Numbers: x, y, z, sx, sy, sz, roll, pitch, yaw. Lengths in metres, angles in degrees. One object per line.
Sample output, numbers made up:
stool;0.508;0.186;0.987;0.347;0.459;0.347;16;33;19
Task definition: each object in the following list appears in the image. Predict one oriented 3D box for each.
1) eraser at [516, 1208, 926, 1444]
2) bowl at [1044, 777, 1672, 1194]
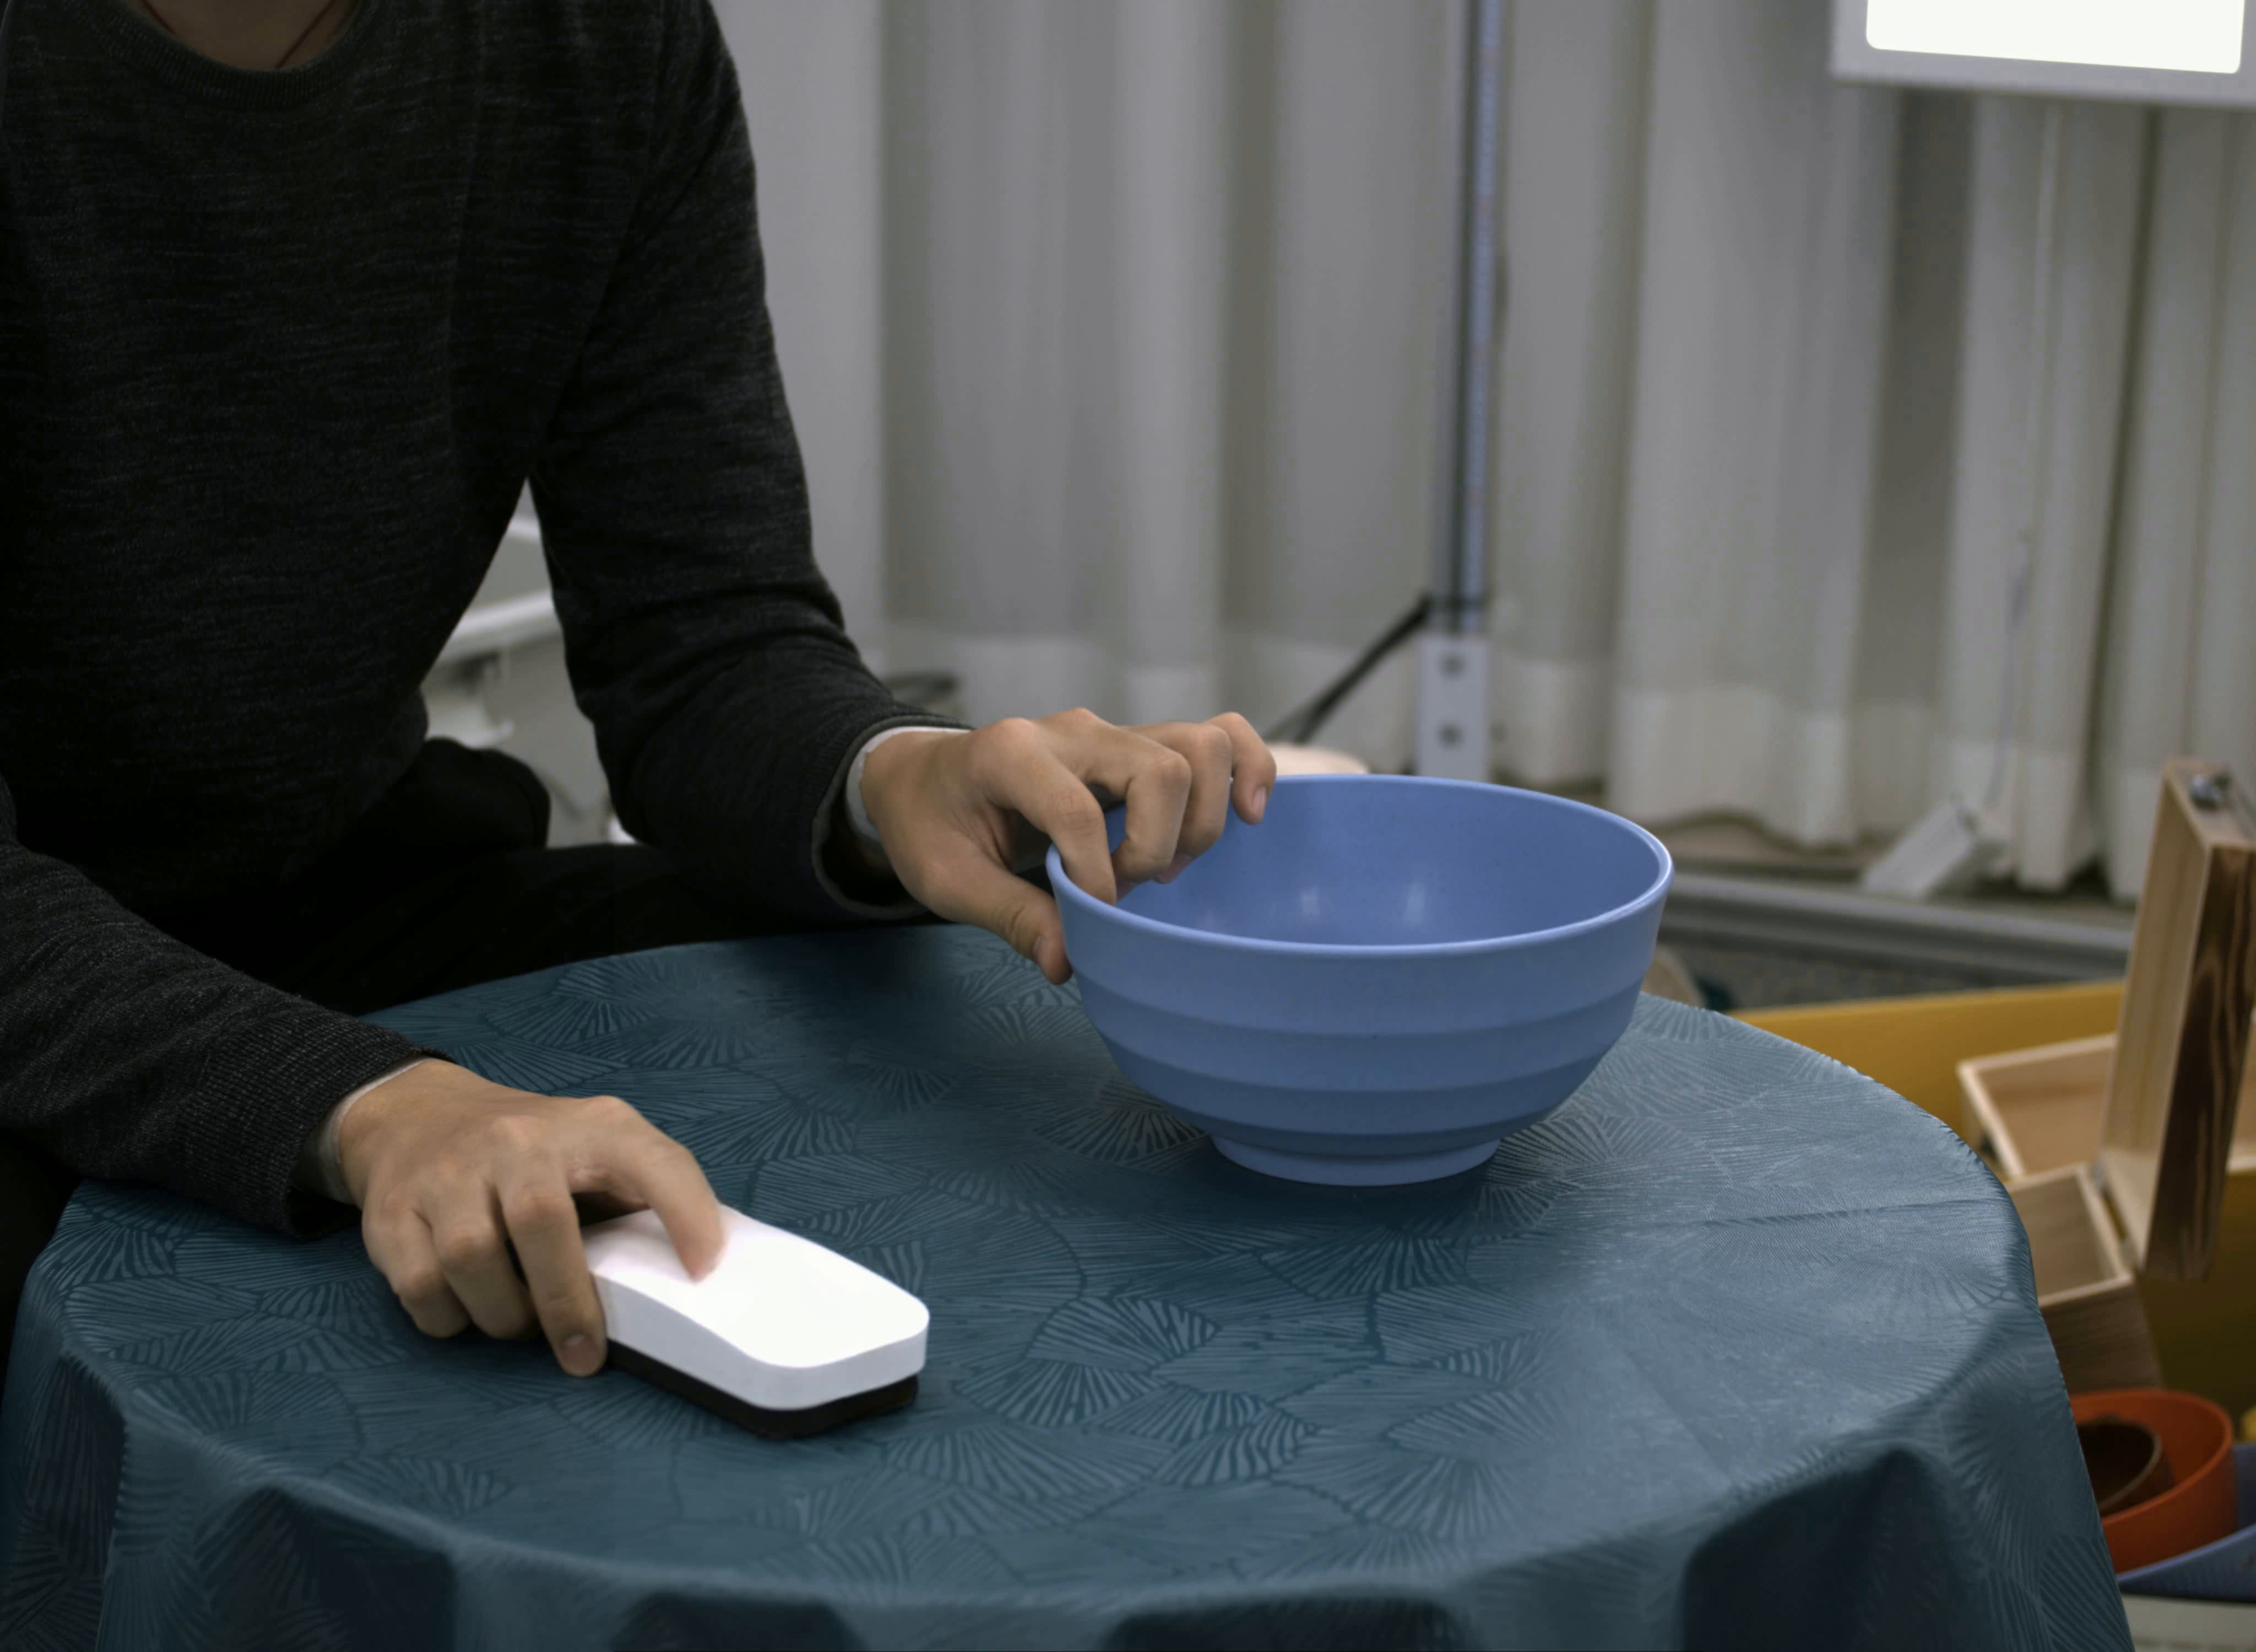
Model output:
eraser;-0.114;0.135;1.475;0.064;0.035;0.129;-12;21;-40
bowl;0.072;0.056;1.655;0.196;0.096;0.195;0;16;1
